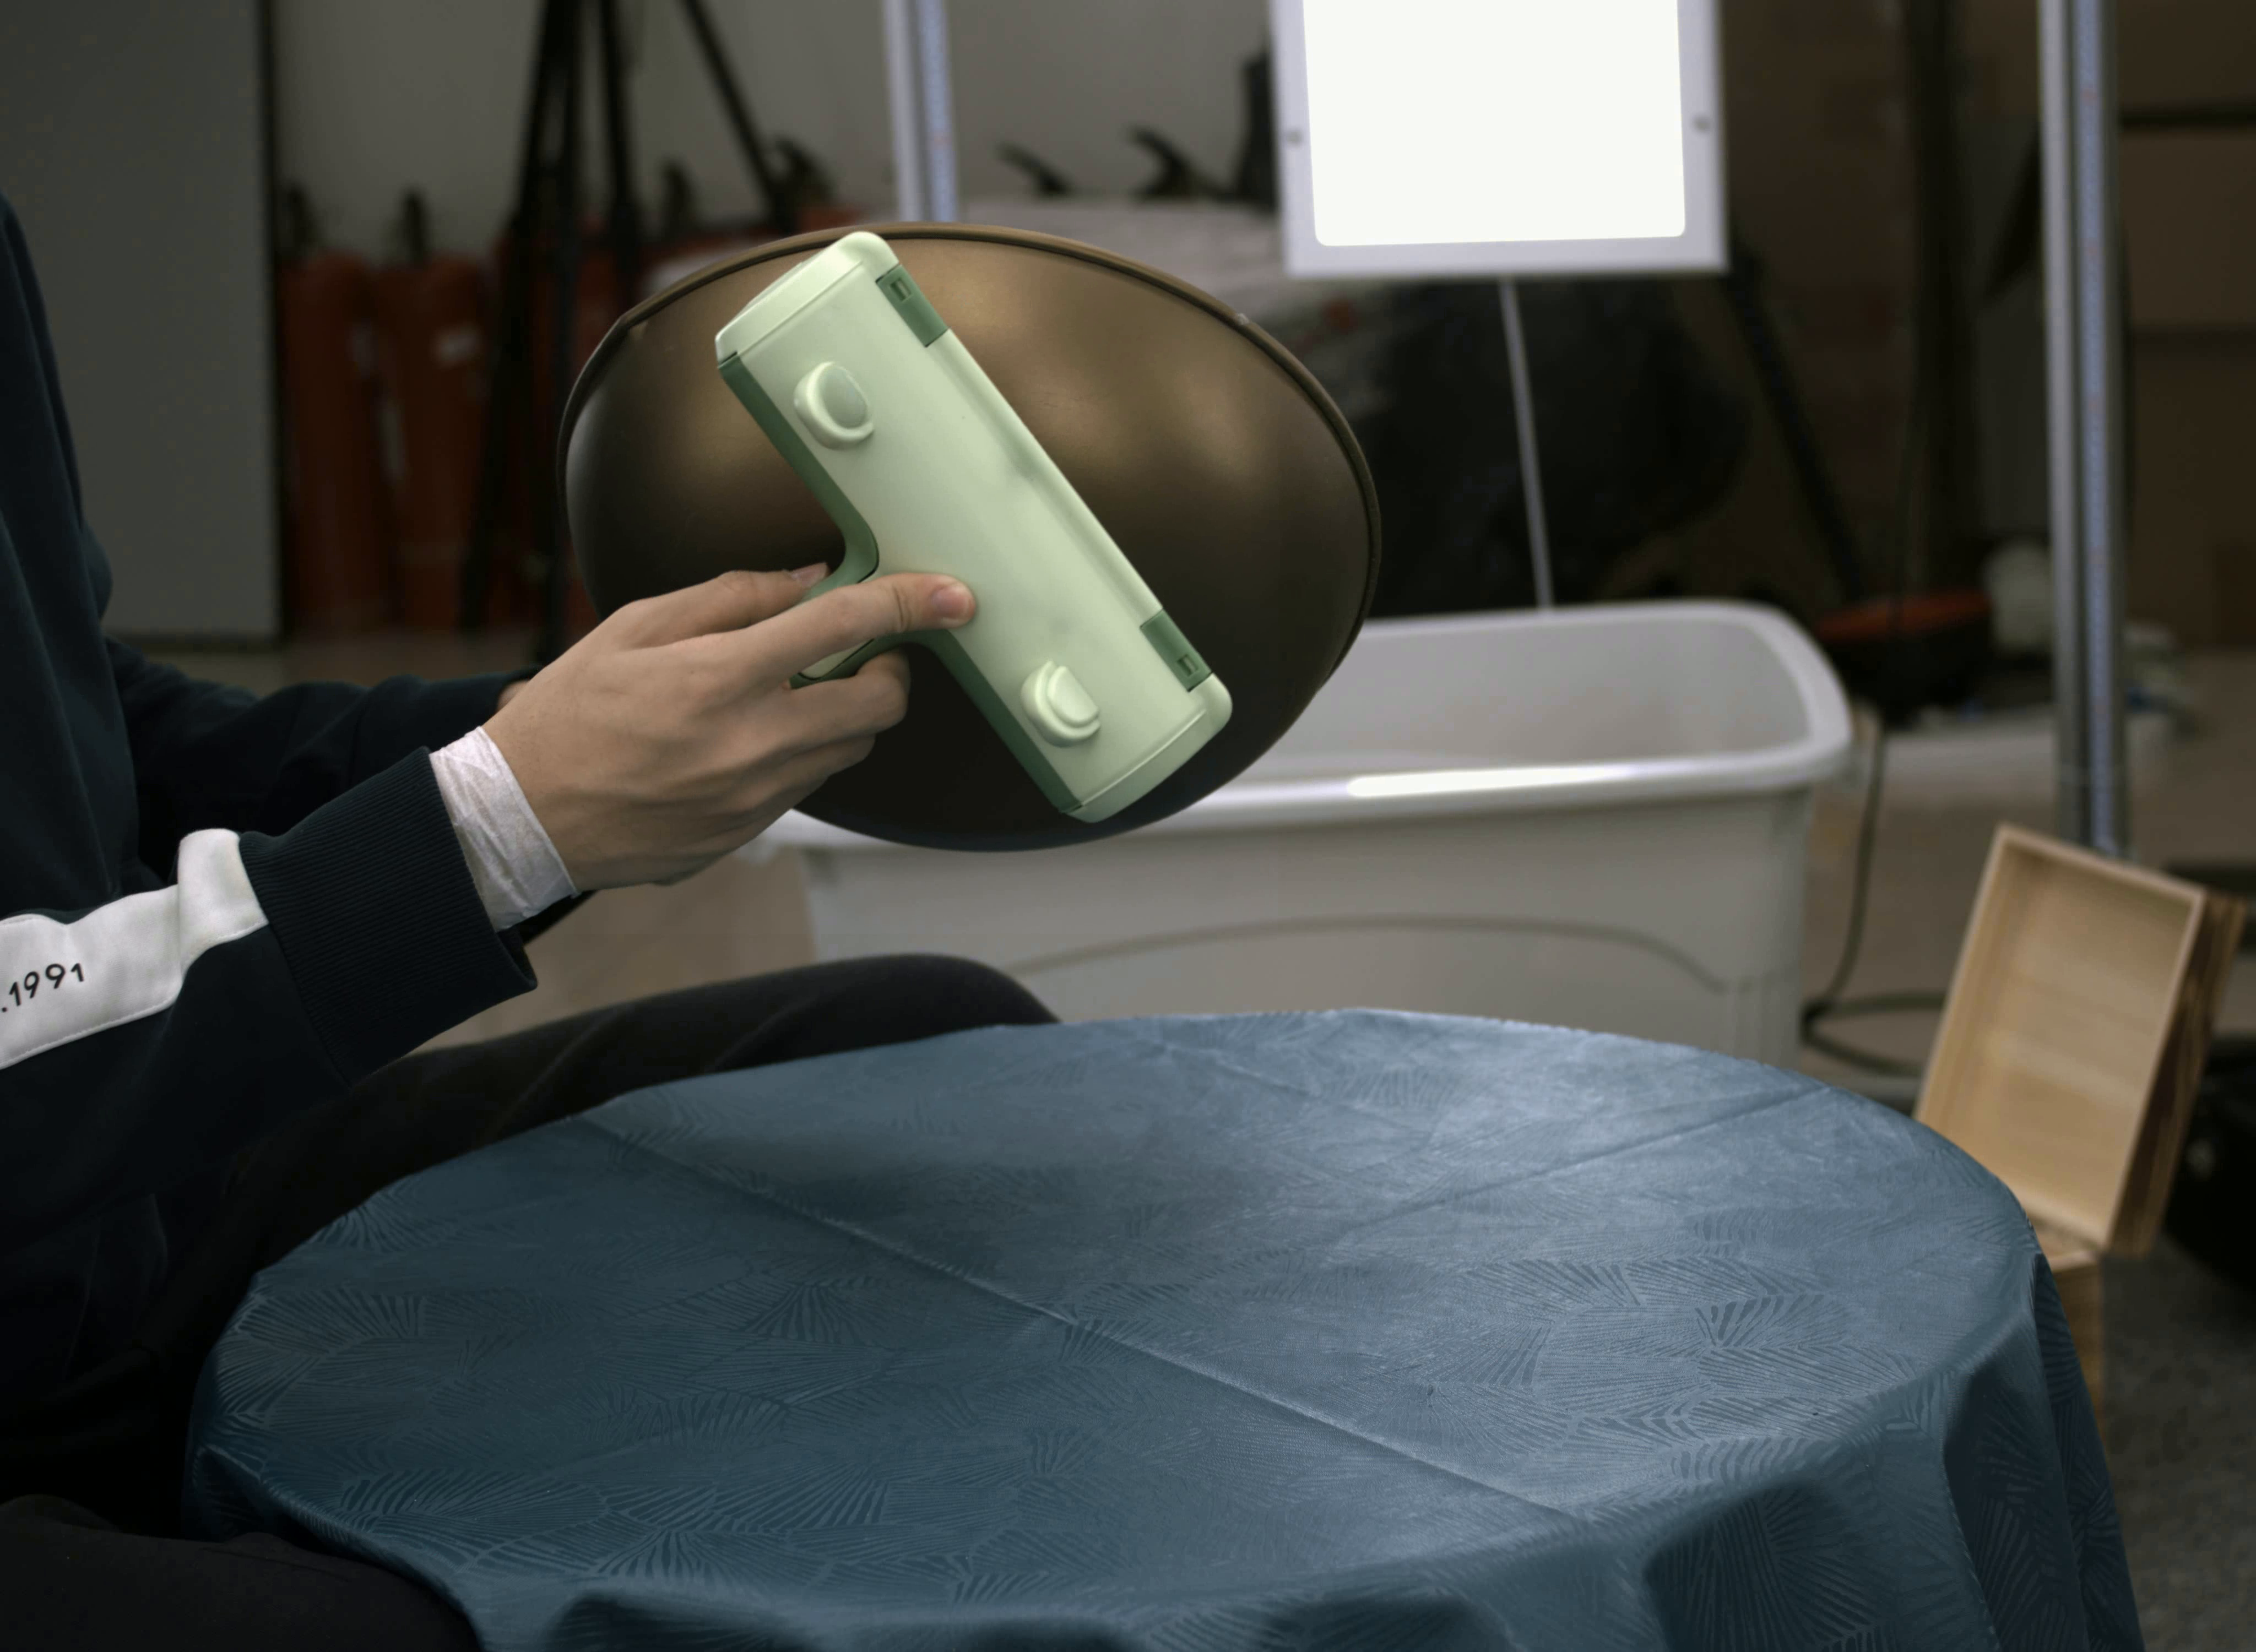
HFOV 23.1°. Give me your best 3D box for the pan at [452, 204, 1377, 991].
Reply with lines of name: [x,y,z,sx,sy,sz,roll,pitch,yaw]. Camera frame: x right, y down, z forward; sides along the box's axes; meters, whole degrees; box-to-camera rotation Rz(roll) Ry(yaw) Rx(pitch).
pan: [-0.115,-0.034,1.896,0.473,0.284,0.086,-38,32,41]

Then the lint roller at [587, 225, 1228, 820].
lint roller: [-0.096,-0.058,1.717,0.184,0.198,0.082,-37,7,4]
